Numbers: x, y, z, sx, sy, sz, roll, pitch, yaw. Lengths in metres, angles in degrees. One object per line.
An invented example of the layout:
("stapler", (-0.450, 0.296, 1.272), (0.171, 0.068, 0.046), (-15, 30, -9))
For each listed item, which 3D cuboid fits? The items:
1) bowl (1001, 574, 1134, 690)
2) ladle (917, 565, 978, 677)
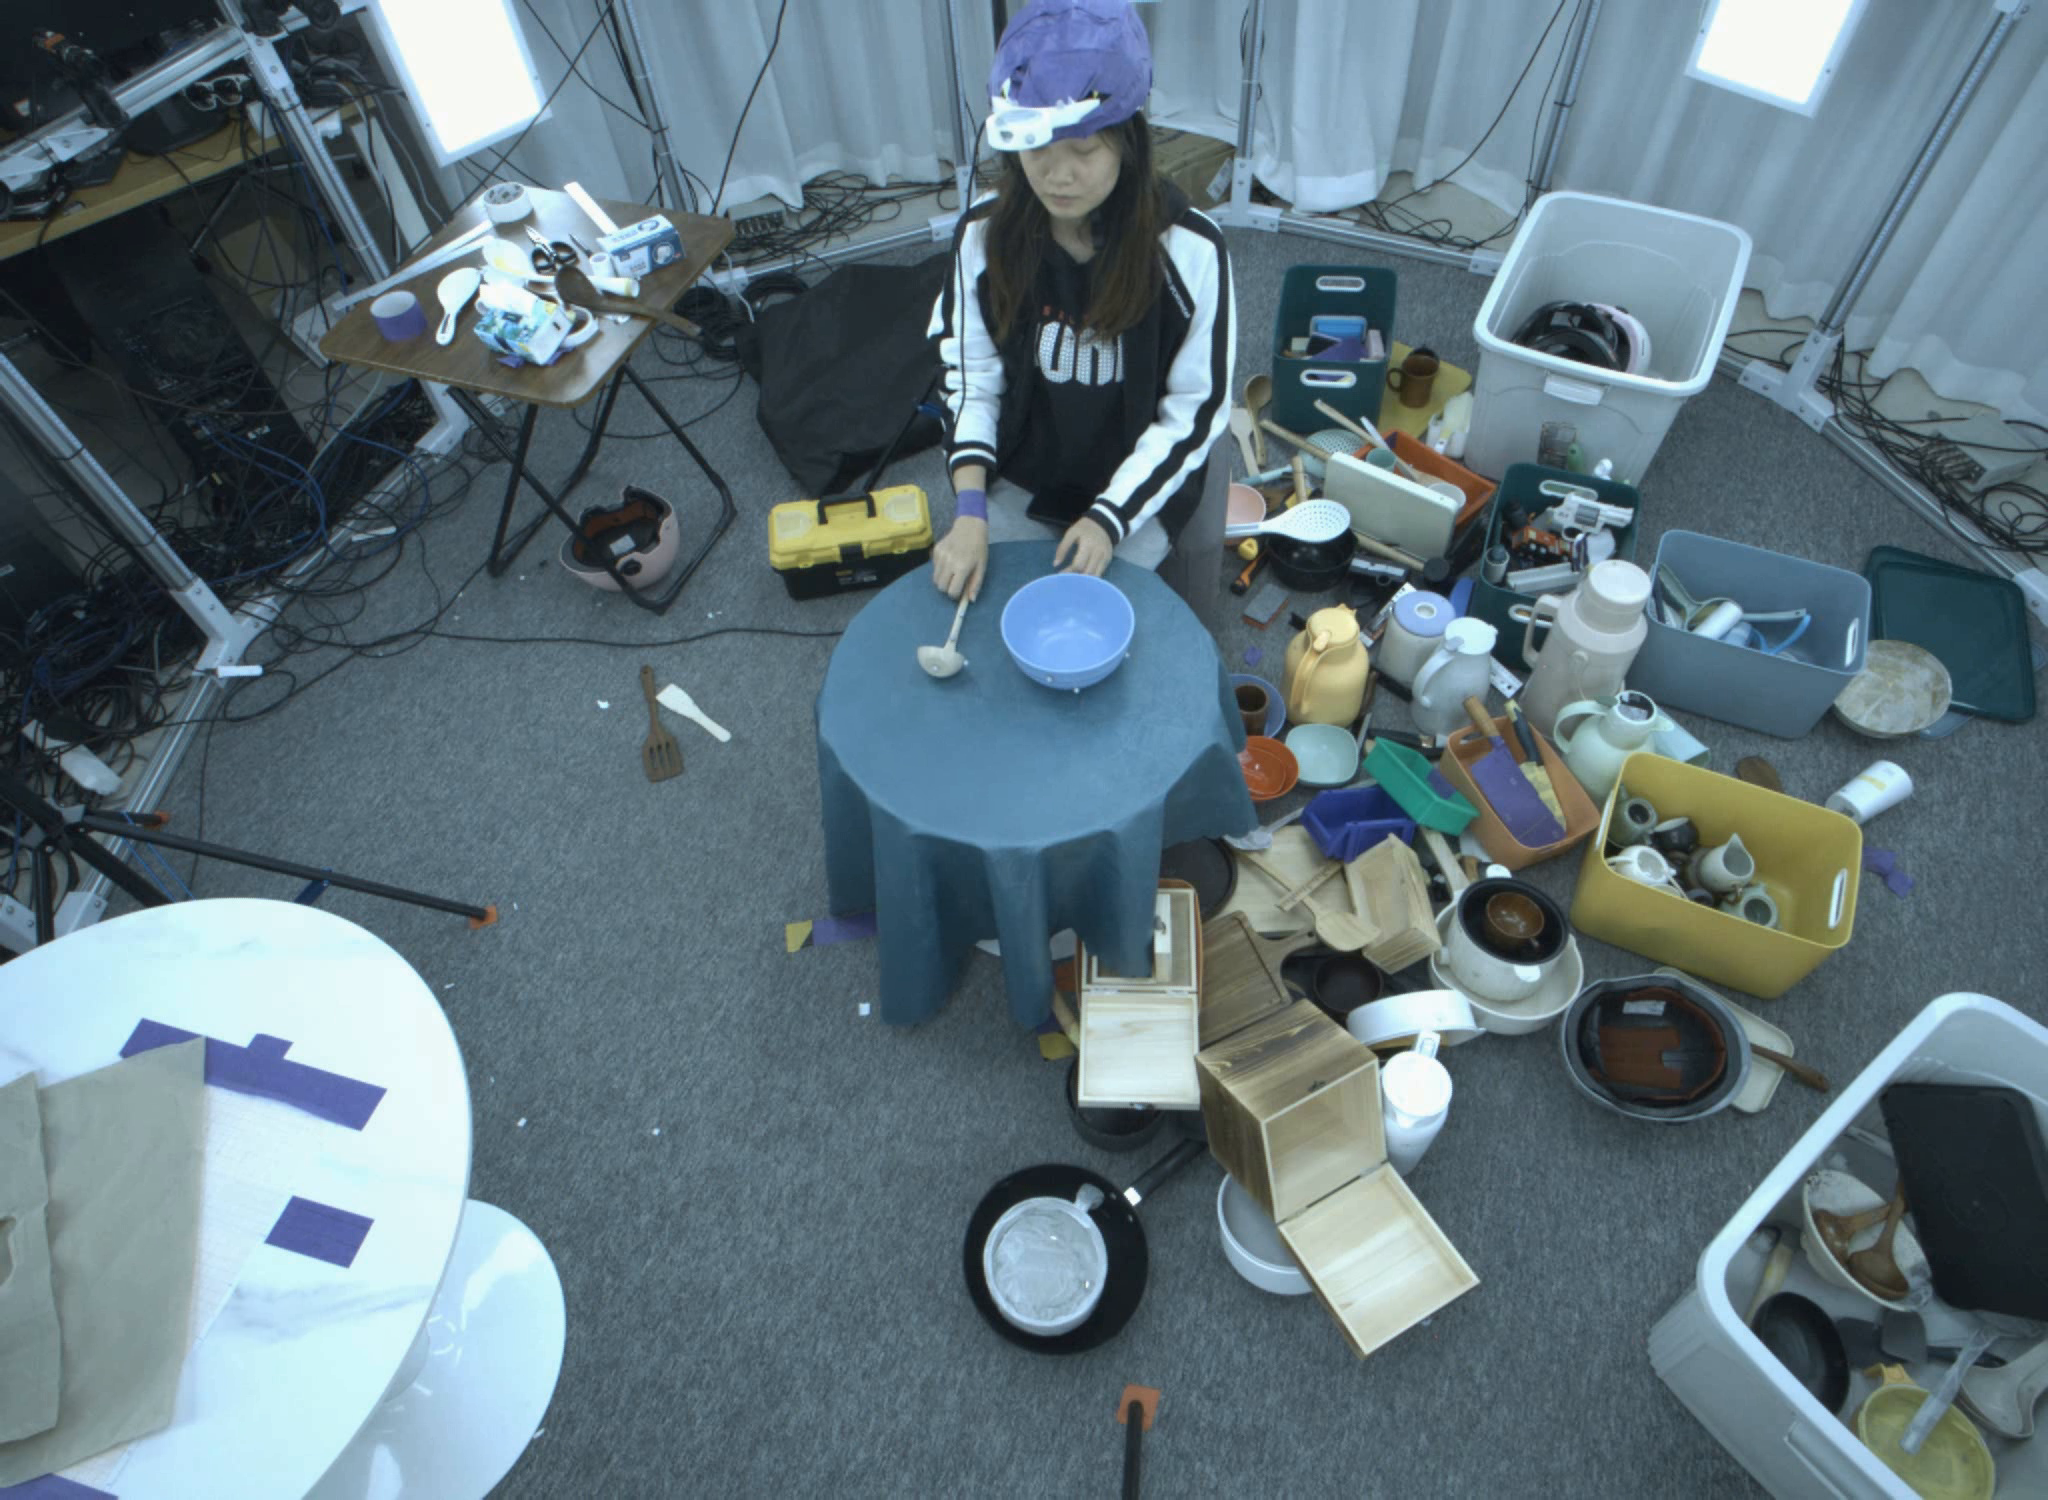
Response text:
("bowl", (0.067, -0.161, 1.845), (0.196, 0.096, 0.194), (-1, 54, 3))
("ladle", (-0.108, -0.222, 1.903), (0.072, 0.073, 0.253), (8, 55, 7))
